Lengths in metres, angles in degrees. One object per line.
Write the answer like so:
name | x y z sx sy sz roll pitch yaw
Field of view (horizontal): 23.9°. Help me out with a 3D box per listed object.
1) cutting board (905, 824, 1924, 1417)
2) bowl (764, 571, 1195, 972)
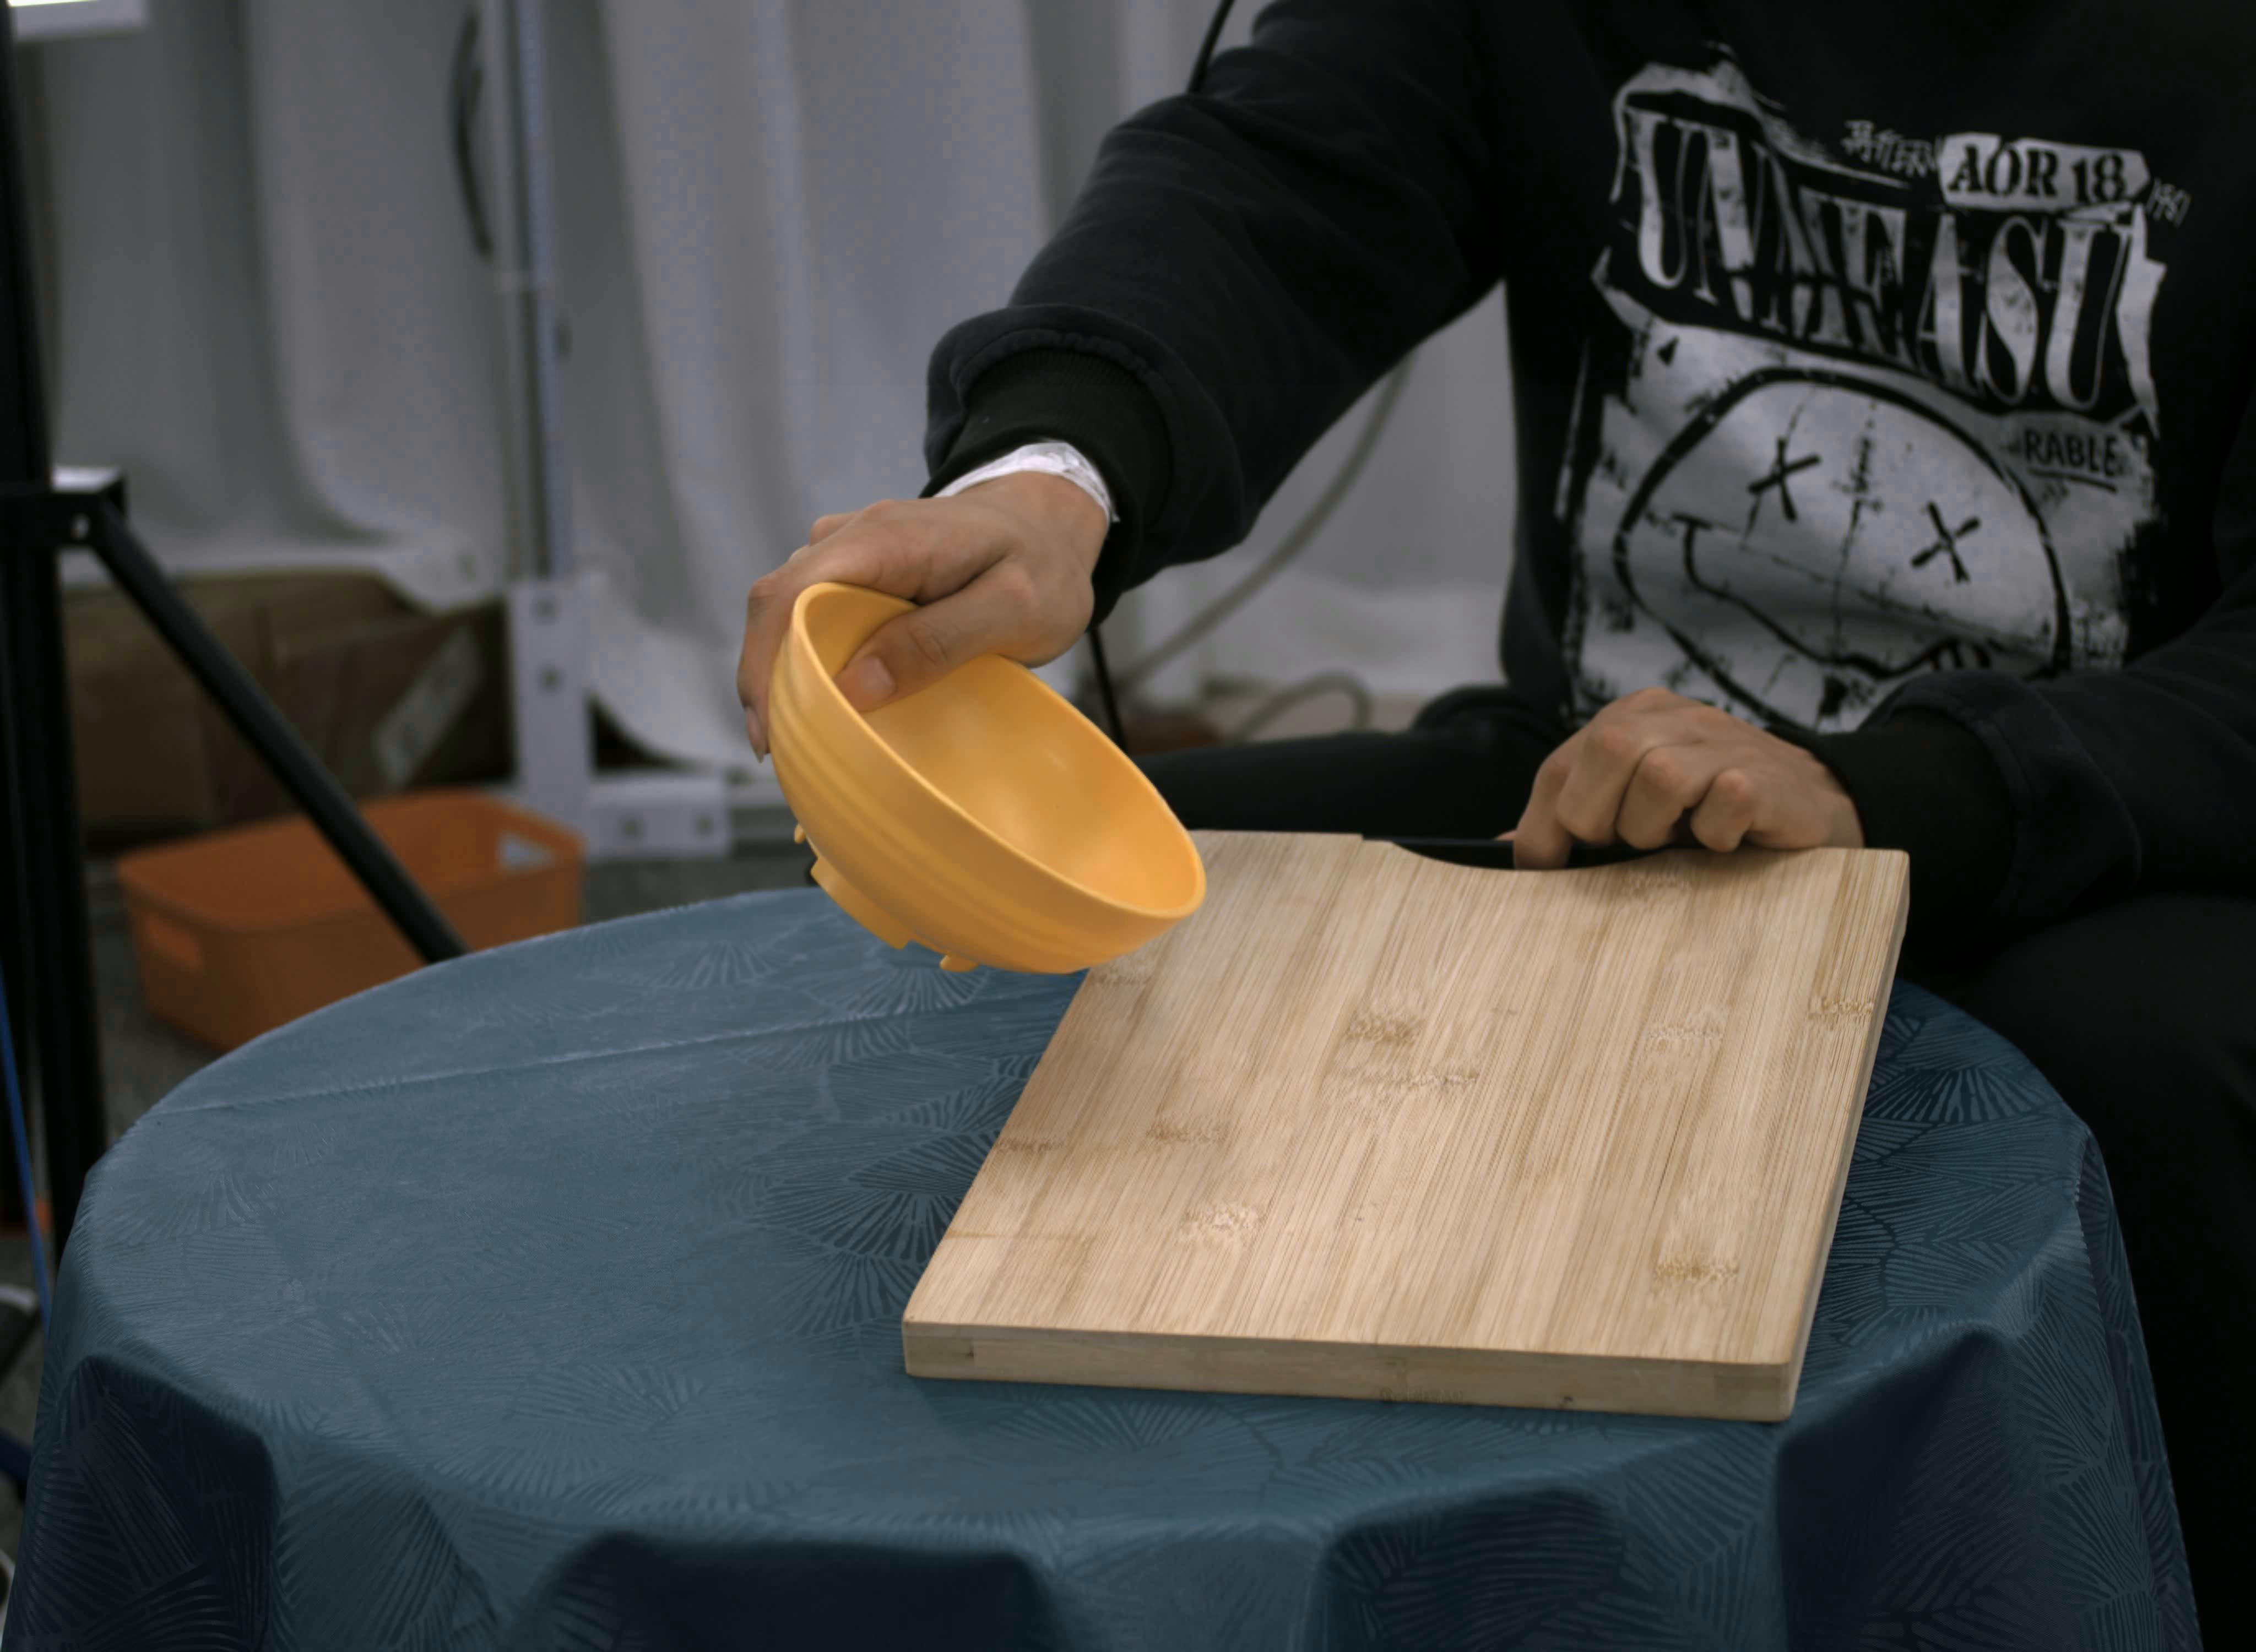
cutting board | 0.095 0.077 1.546 0.252 0.023 0.347 1 23 13
bowl | -0.054 -0.003 1.523 0.143 0.060 0.146 34 18 -15
